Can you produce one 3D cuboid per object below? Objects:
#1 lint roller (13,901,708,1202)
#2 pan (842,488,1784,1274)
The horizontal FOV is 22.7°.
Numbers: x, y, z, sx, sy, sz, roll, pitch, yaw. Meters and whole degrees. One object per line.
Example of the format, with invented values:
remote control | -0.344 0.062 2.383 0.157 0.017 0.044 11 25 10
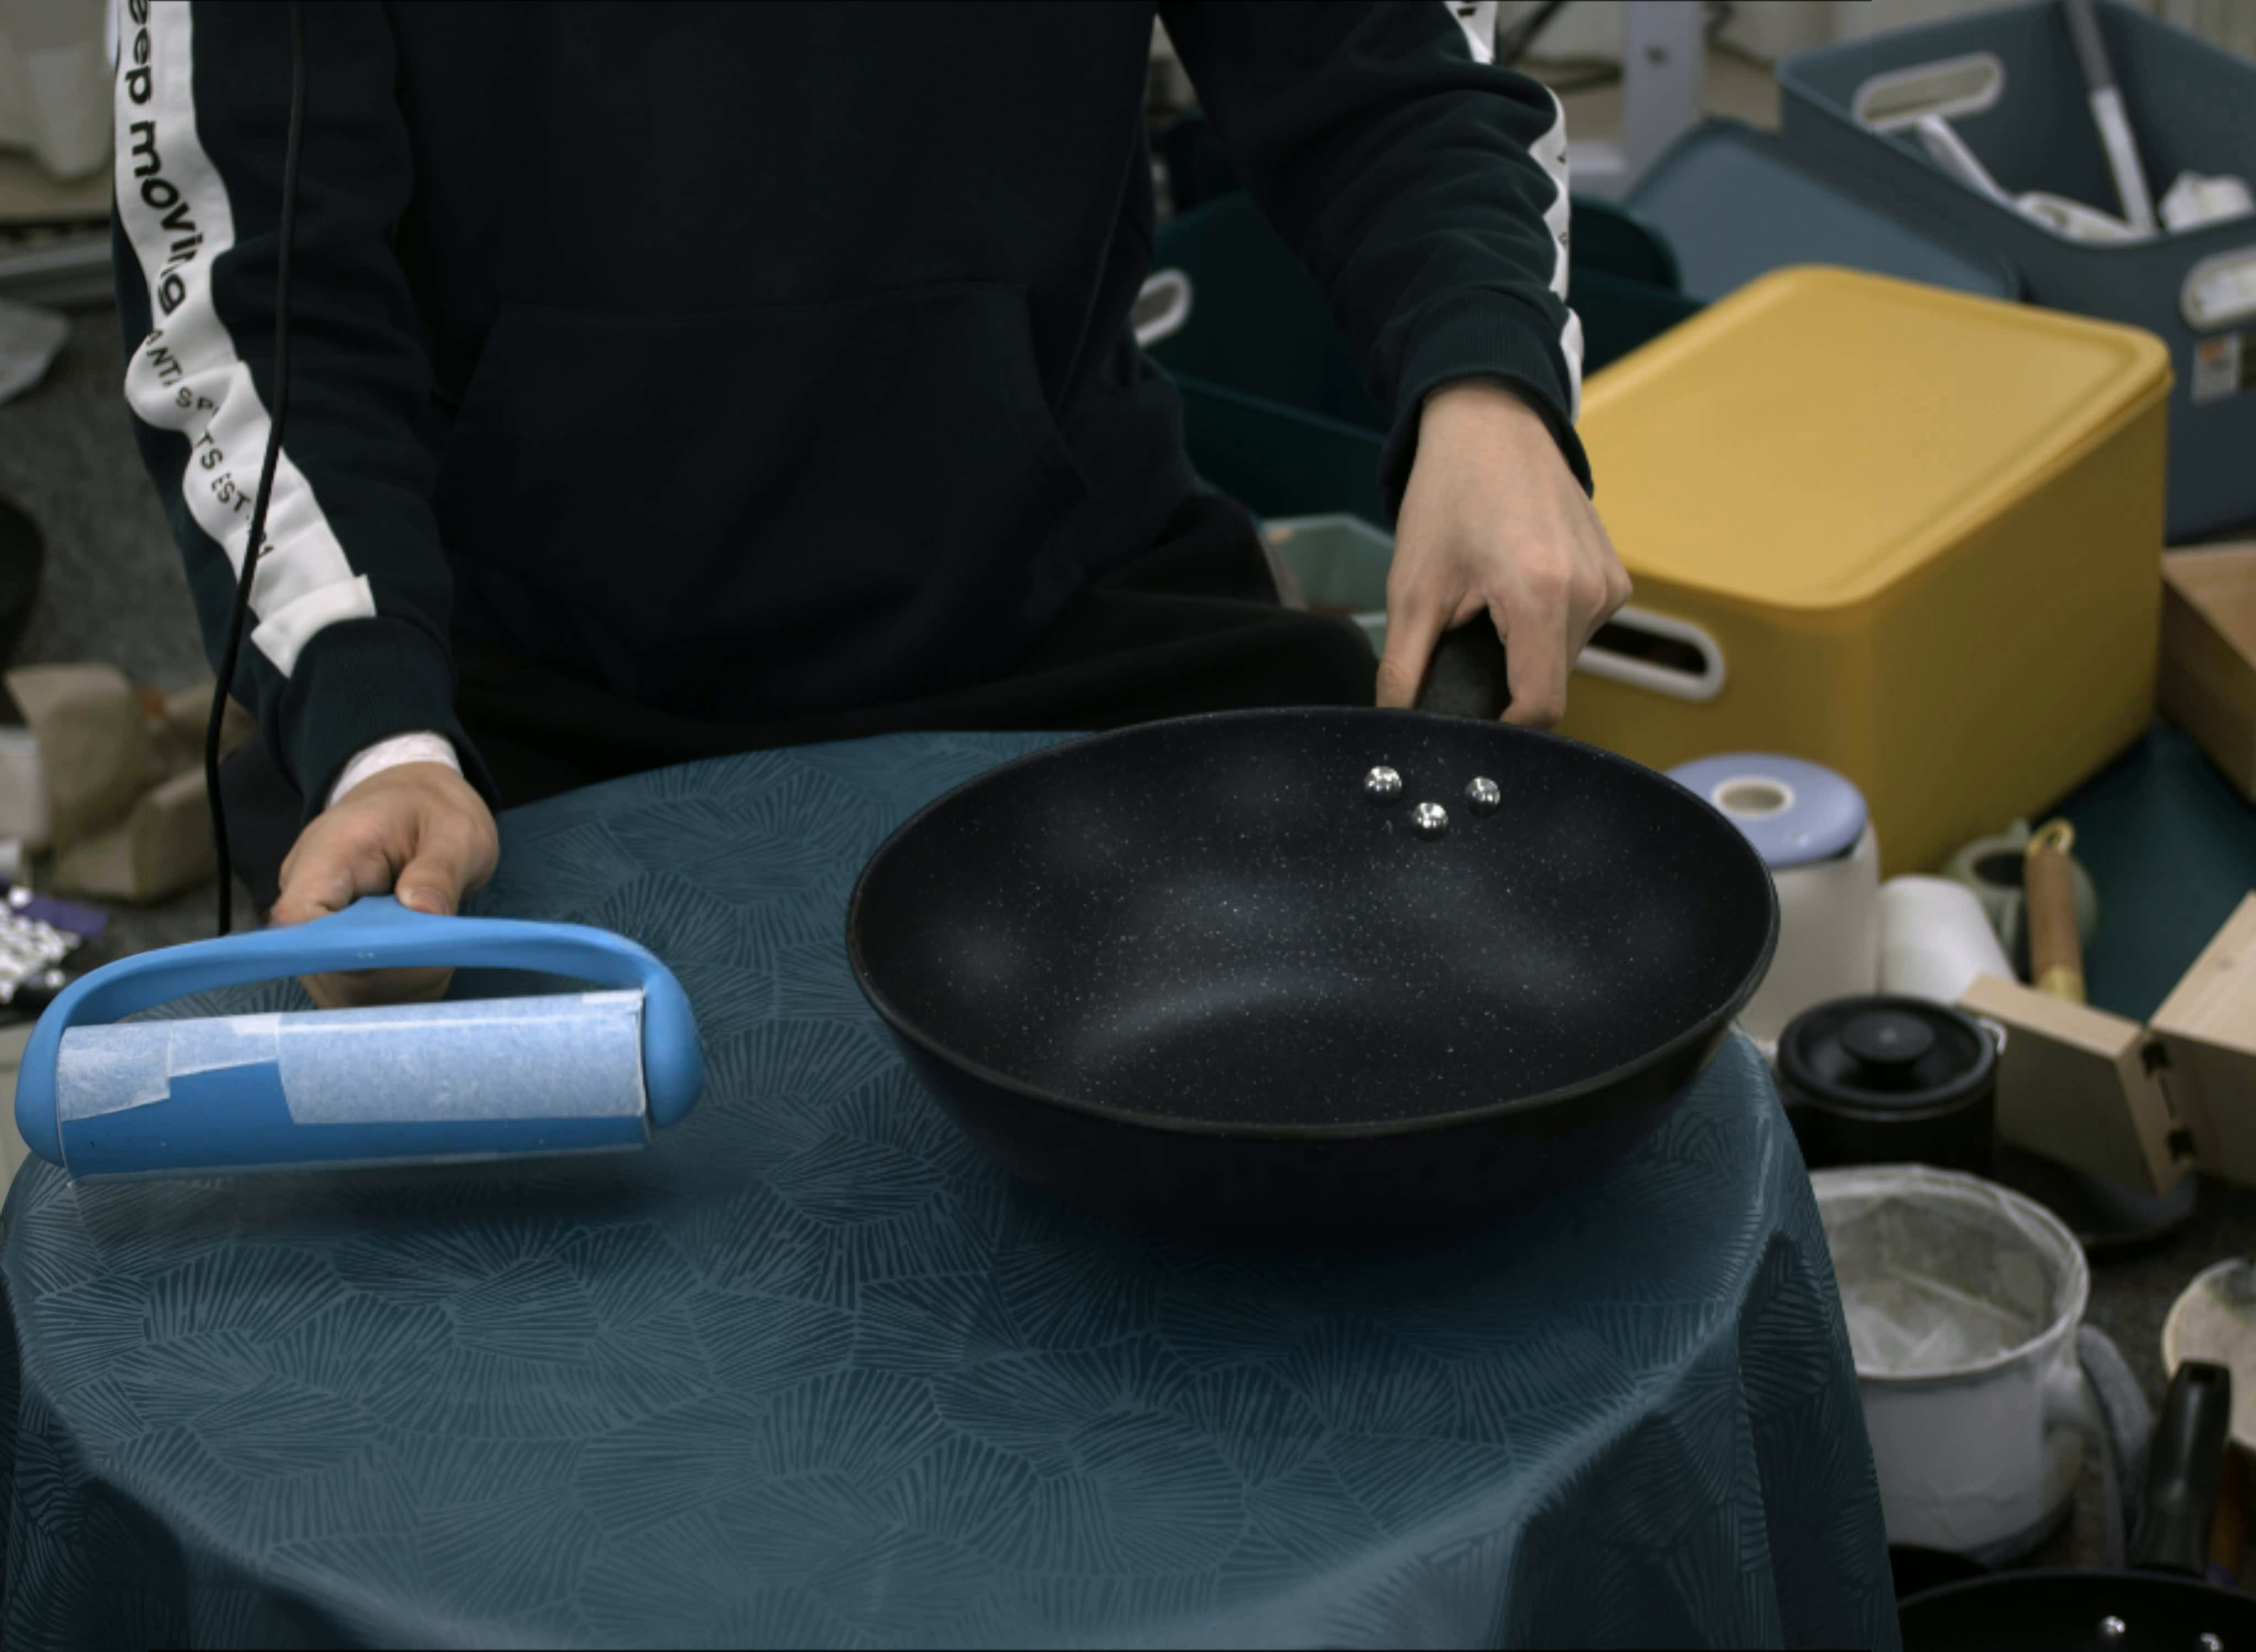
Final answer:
lint roller | -0.257 0.060 1.904 0.228 0.067 0.183 -8 27 -2
pan | 0.086 0.021 1.931 0.308 0.110 0.485 8 27 16
